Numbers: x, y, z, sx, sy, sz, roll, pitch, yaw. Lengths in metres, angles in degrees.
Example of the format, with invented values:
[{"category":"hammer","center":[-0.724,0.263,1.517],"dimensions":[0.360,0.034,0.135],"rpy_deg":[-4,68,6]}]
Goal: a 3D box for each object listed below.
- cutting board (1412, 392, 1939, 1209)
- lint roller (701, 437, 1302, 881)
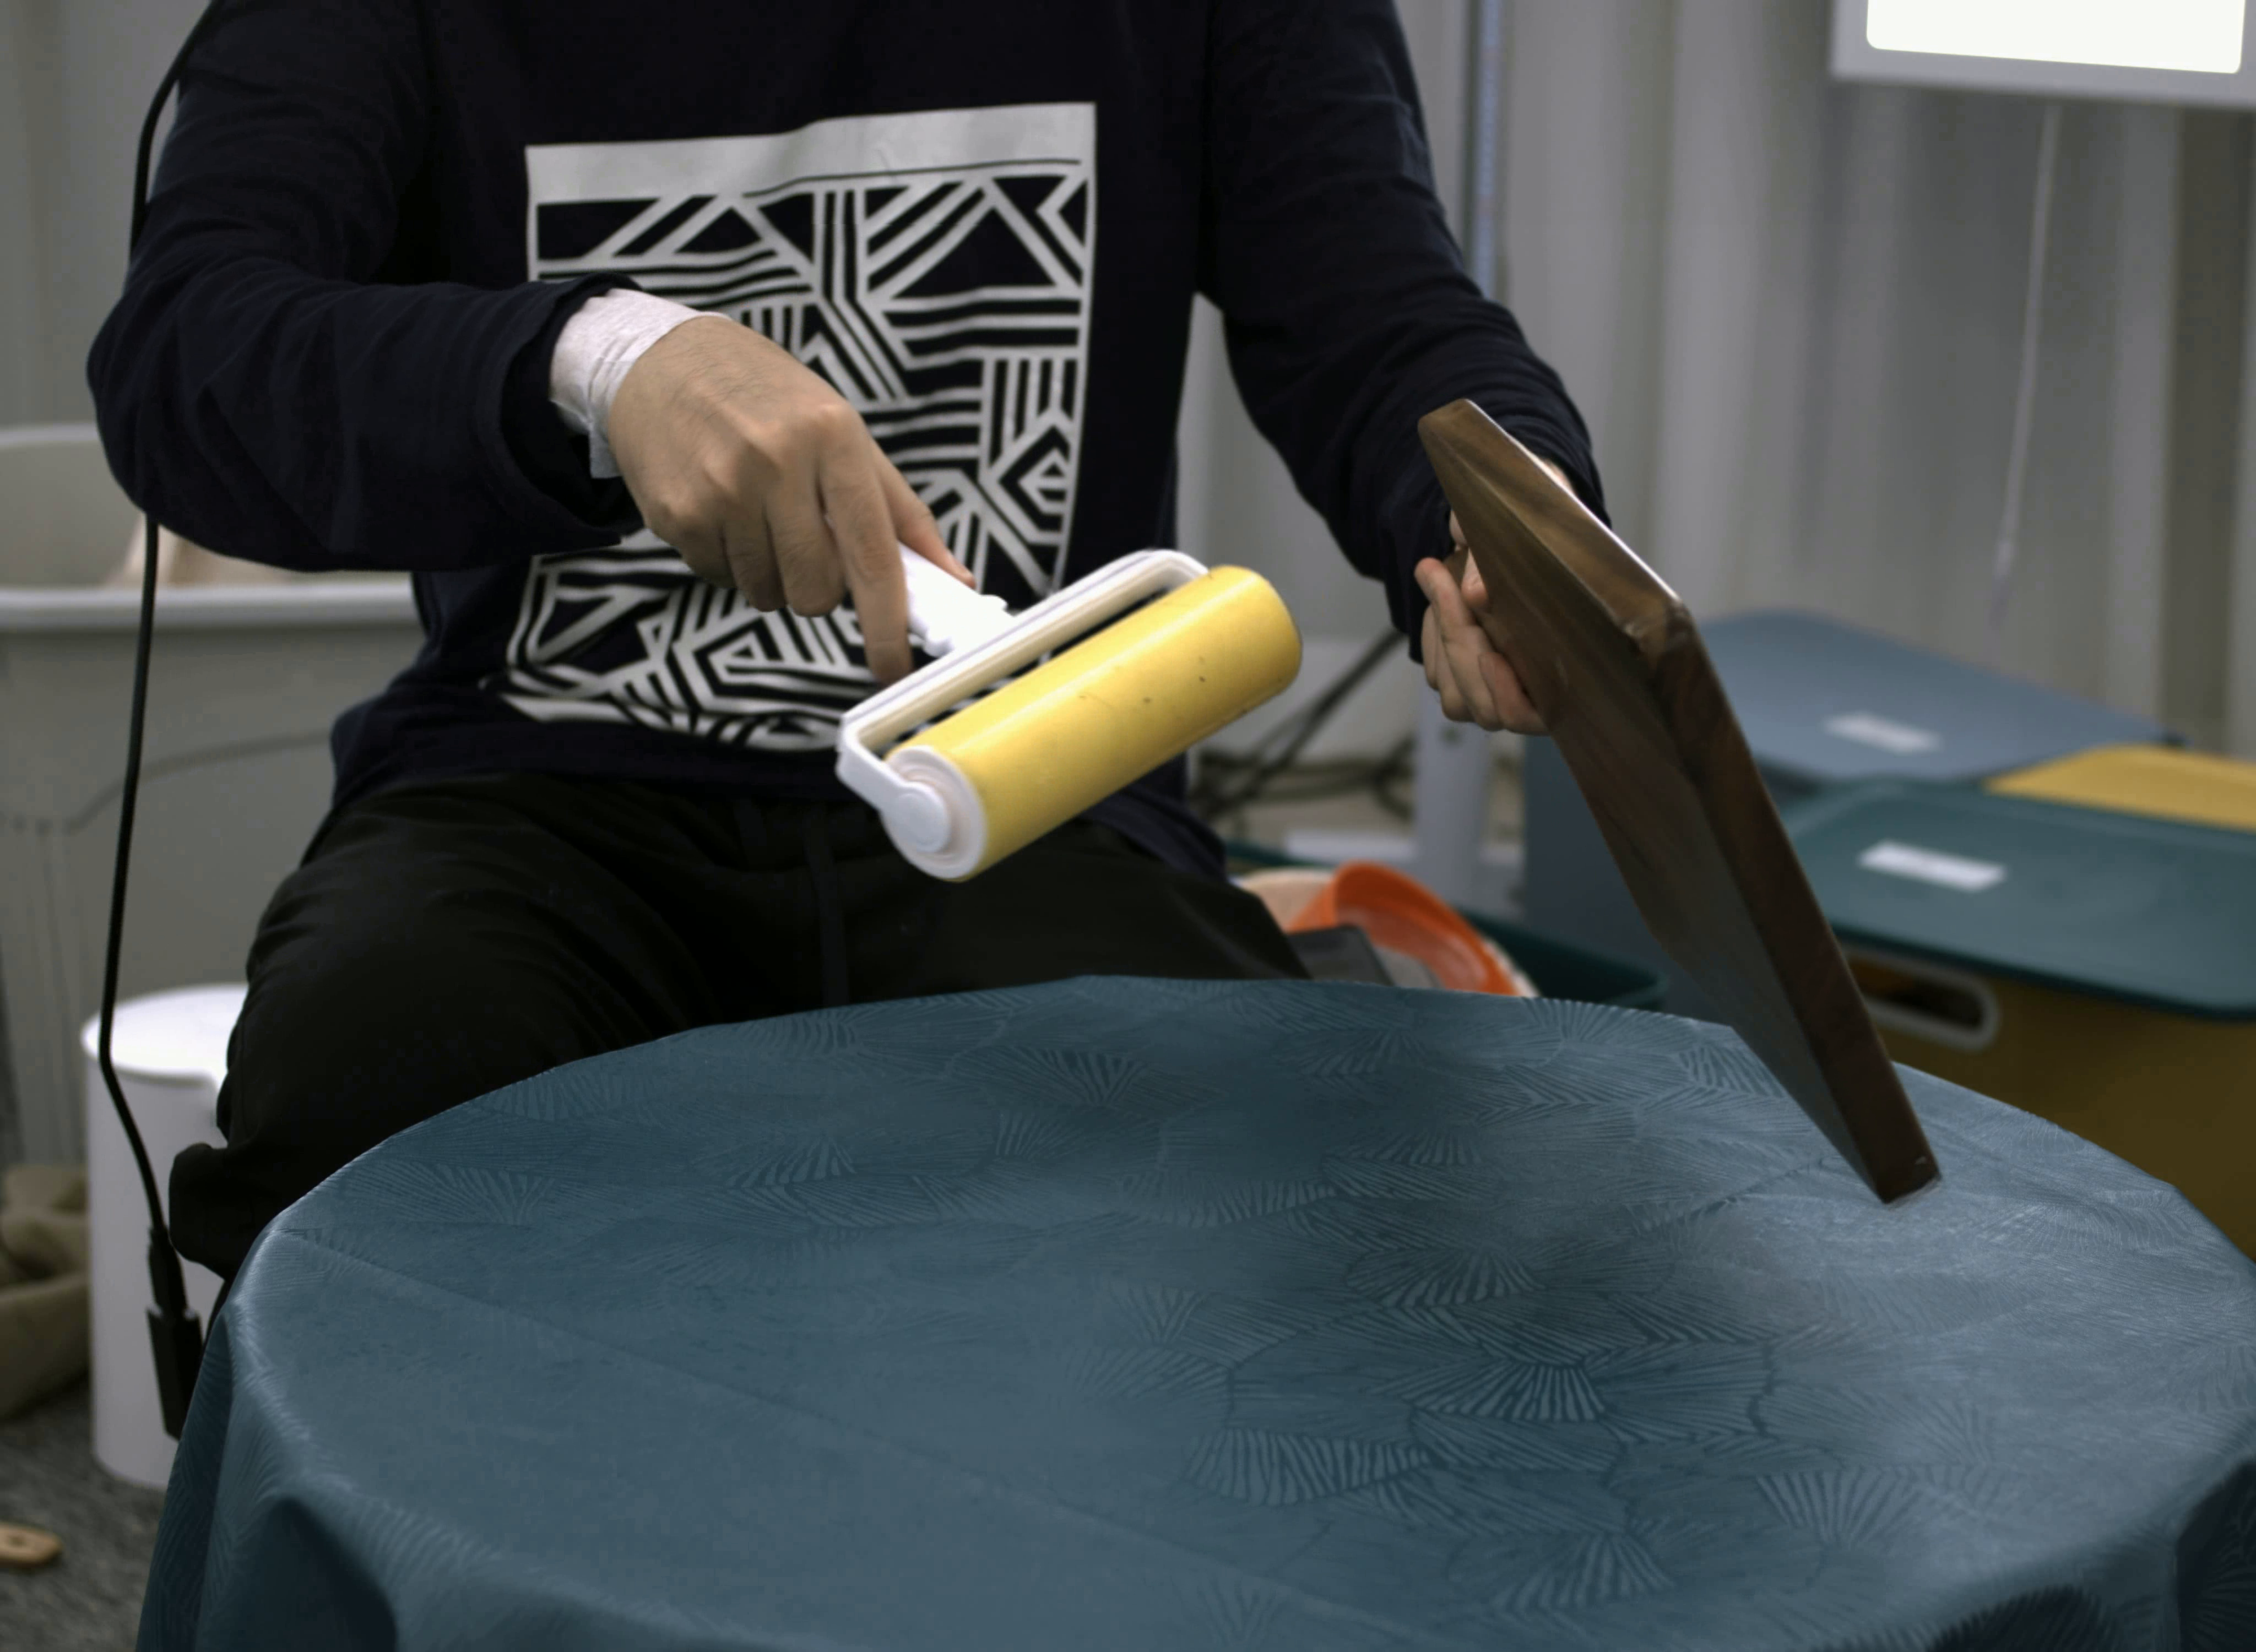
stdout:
[{"category":"cutting board","center":[0.149,-0.028,1.607],"dimensions":[0.023,0.203,0.349],"rpy_deg":[-27,21,-2]},{"category":"lint roller","center":[-0.061,-0.077,1.710],"dimensions":[0.191,0.051,0.174],"rpy_deg":[42,42,14]}]
